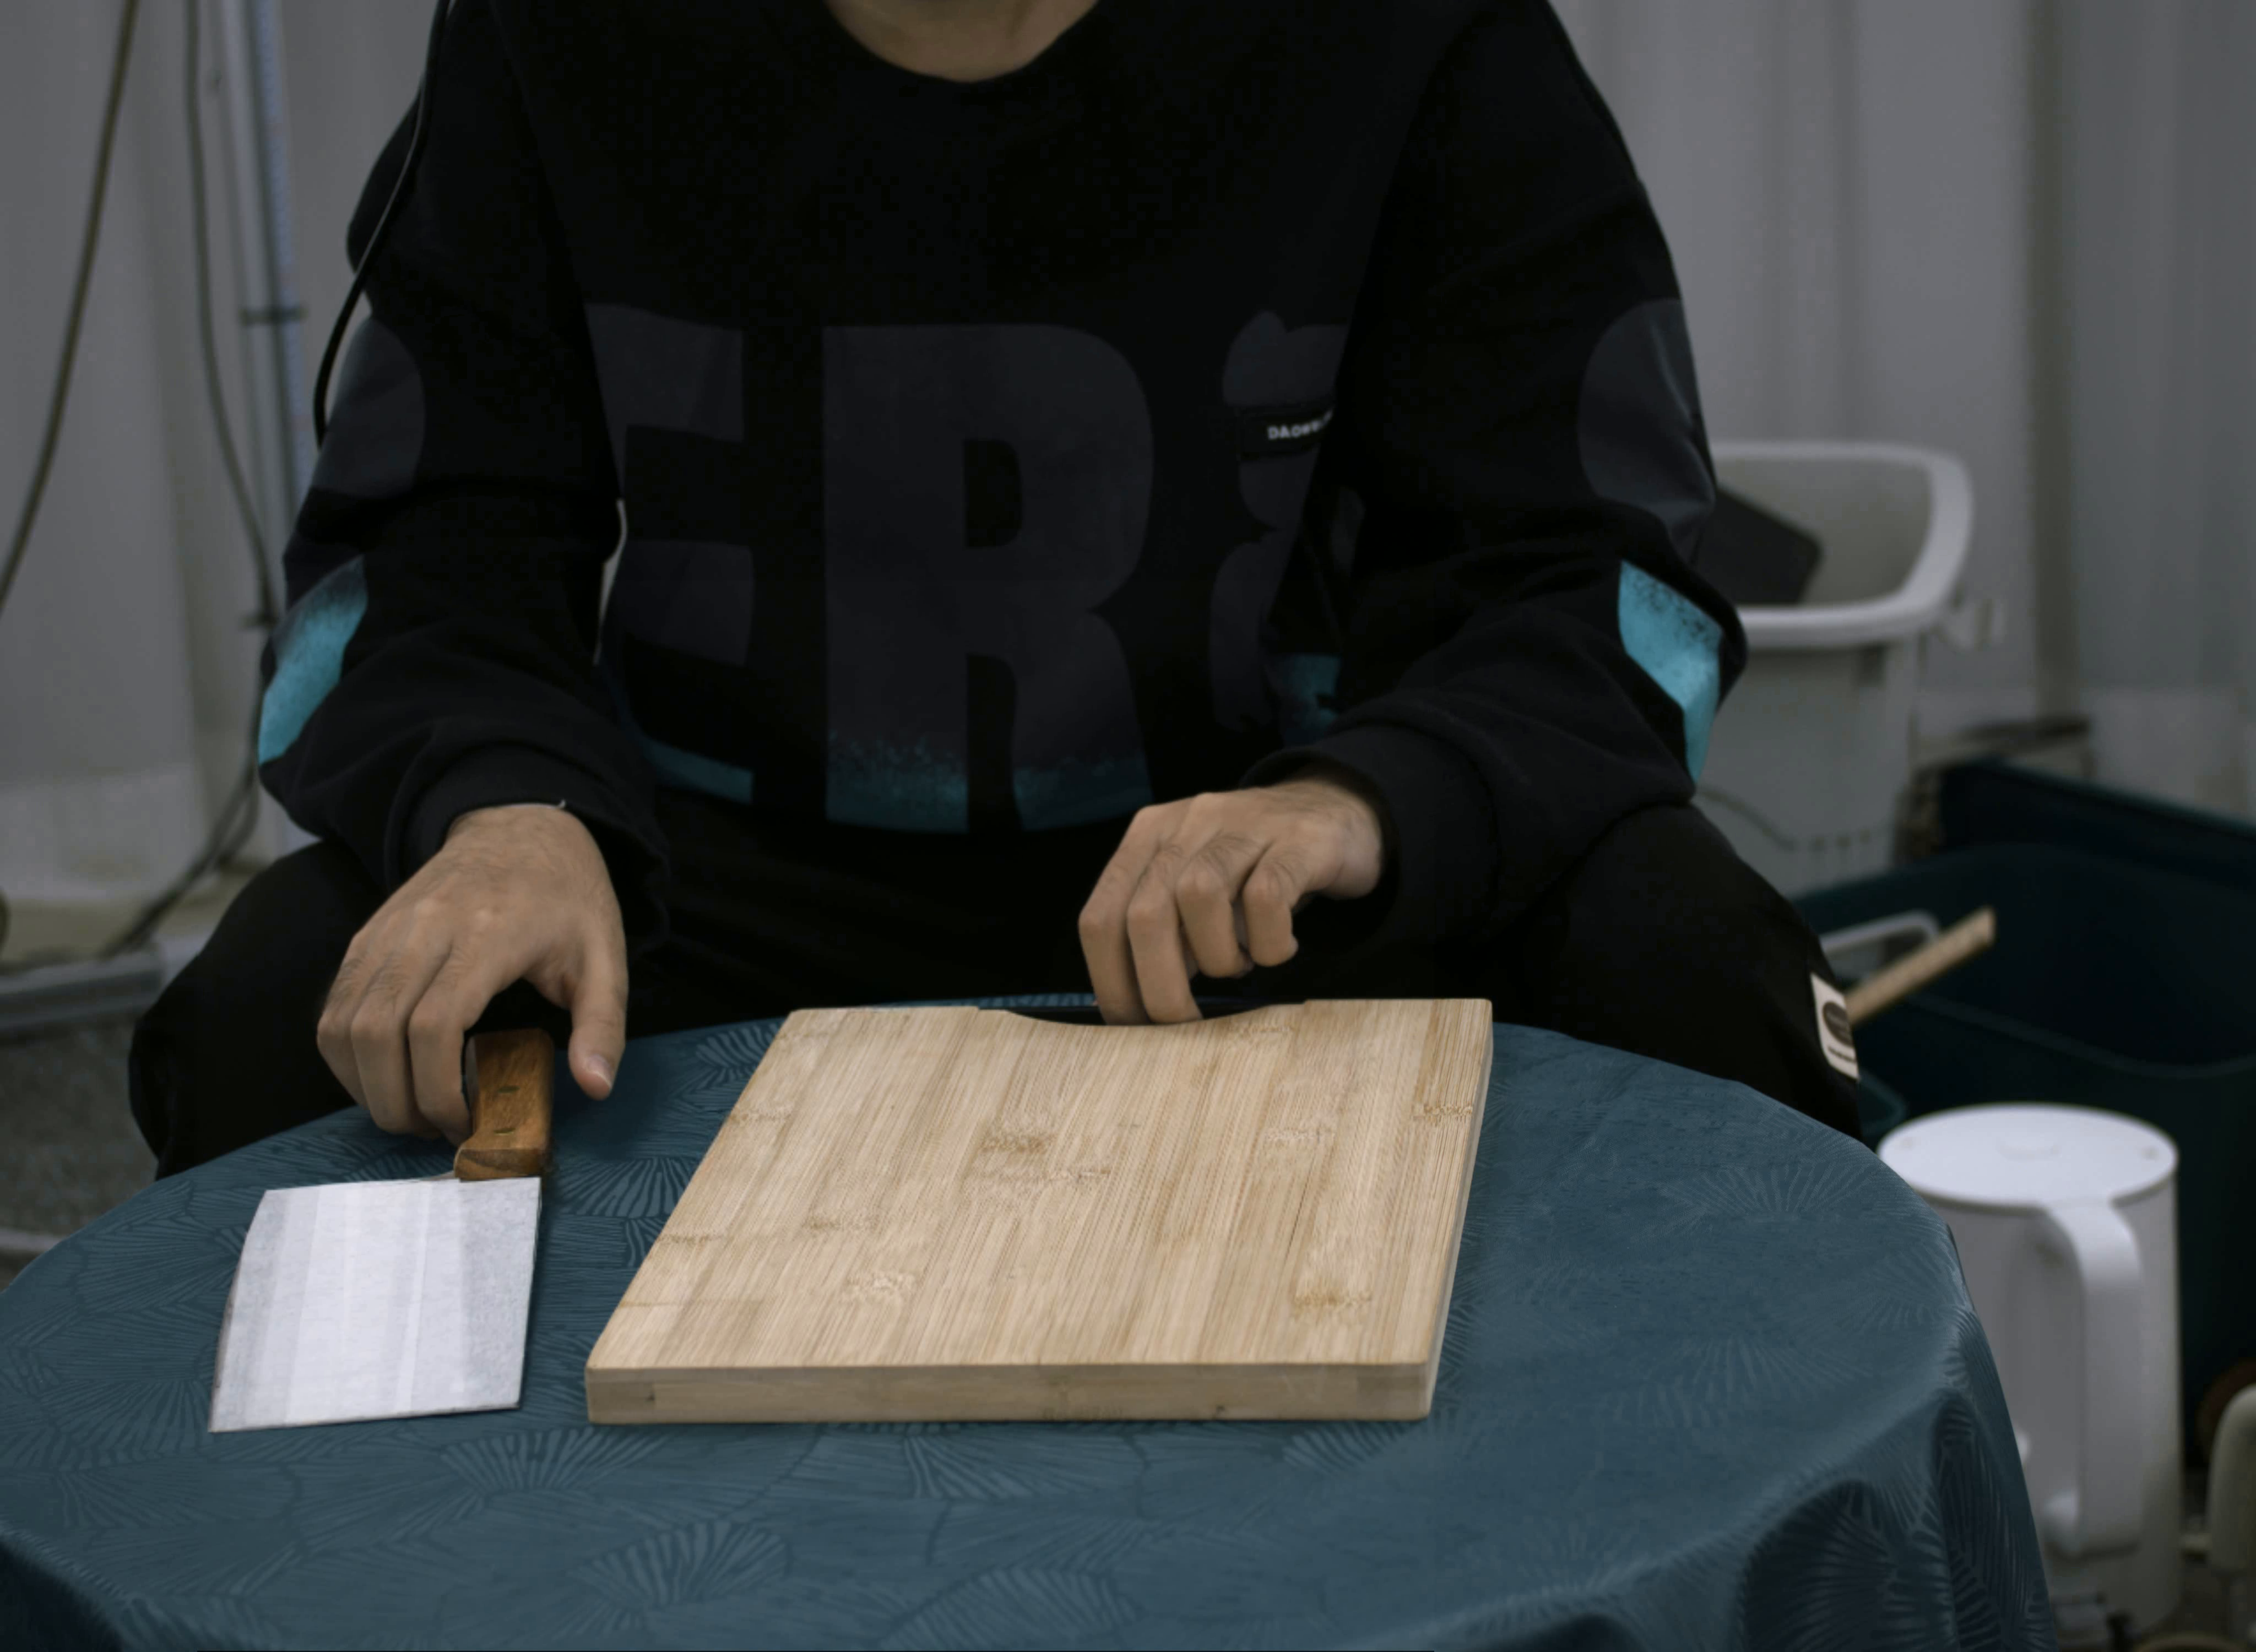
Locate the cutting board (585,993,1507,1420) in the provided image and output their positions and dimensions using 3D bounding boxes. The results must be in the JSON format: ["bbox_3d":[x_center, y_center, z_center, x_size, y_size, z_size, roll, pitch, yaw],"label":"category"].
[{"bbox_3d":[-0.013,0.113,1.692,0.250,0.023,0.351,-1,15,6],"label":"cutting board"}]

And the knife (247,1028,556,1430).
[{"bbox_3d":[-0.225,0.124,1.698,0.092,0.021,0.308,-5,17,-2],"label":"knife"}]
